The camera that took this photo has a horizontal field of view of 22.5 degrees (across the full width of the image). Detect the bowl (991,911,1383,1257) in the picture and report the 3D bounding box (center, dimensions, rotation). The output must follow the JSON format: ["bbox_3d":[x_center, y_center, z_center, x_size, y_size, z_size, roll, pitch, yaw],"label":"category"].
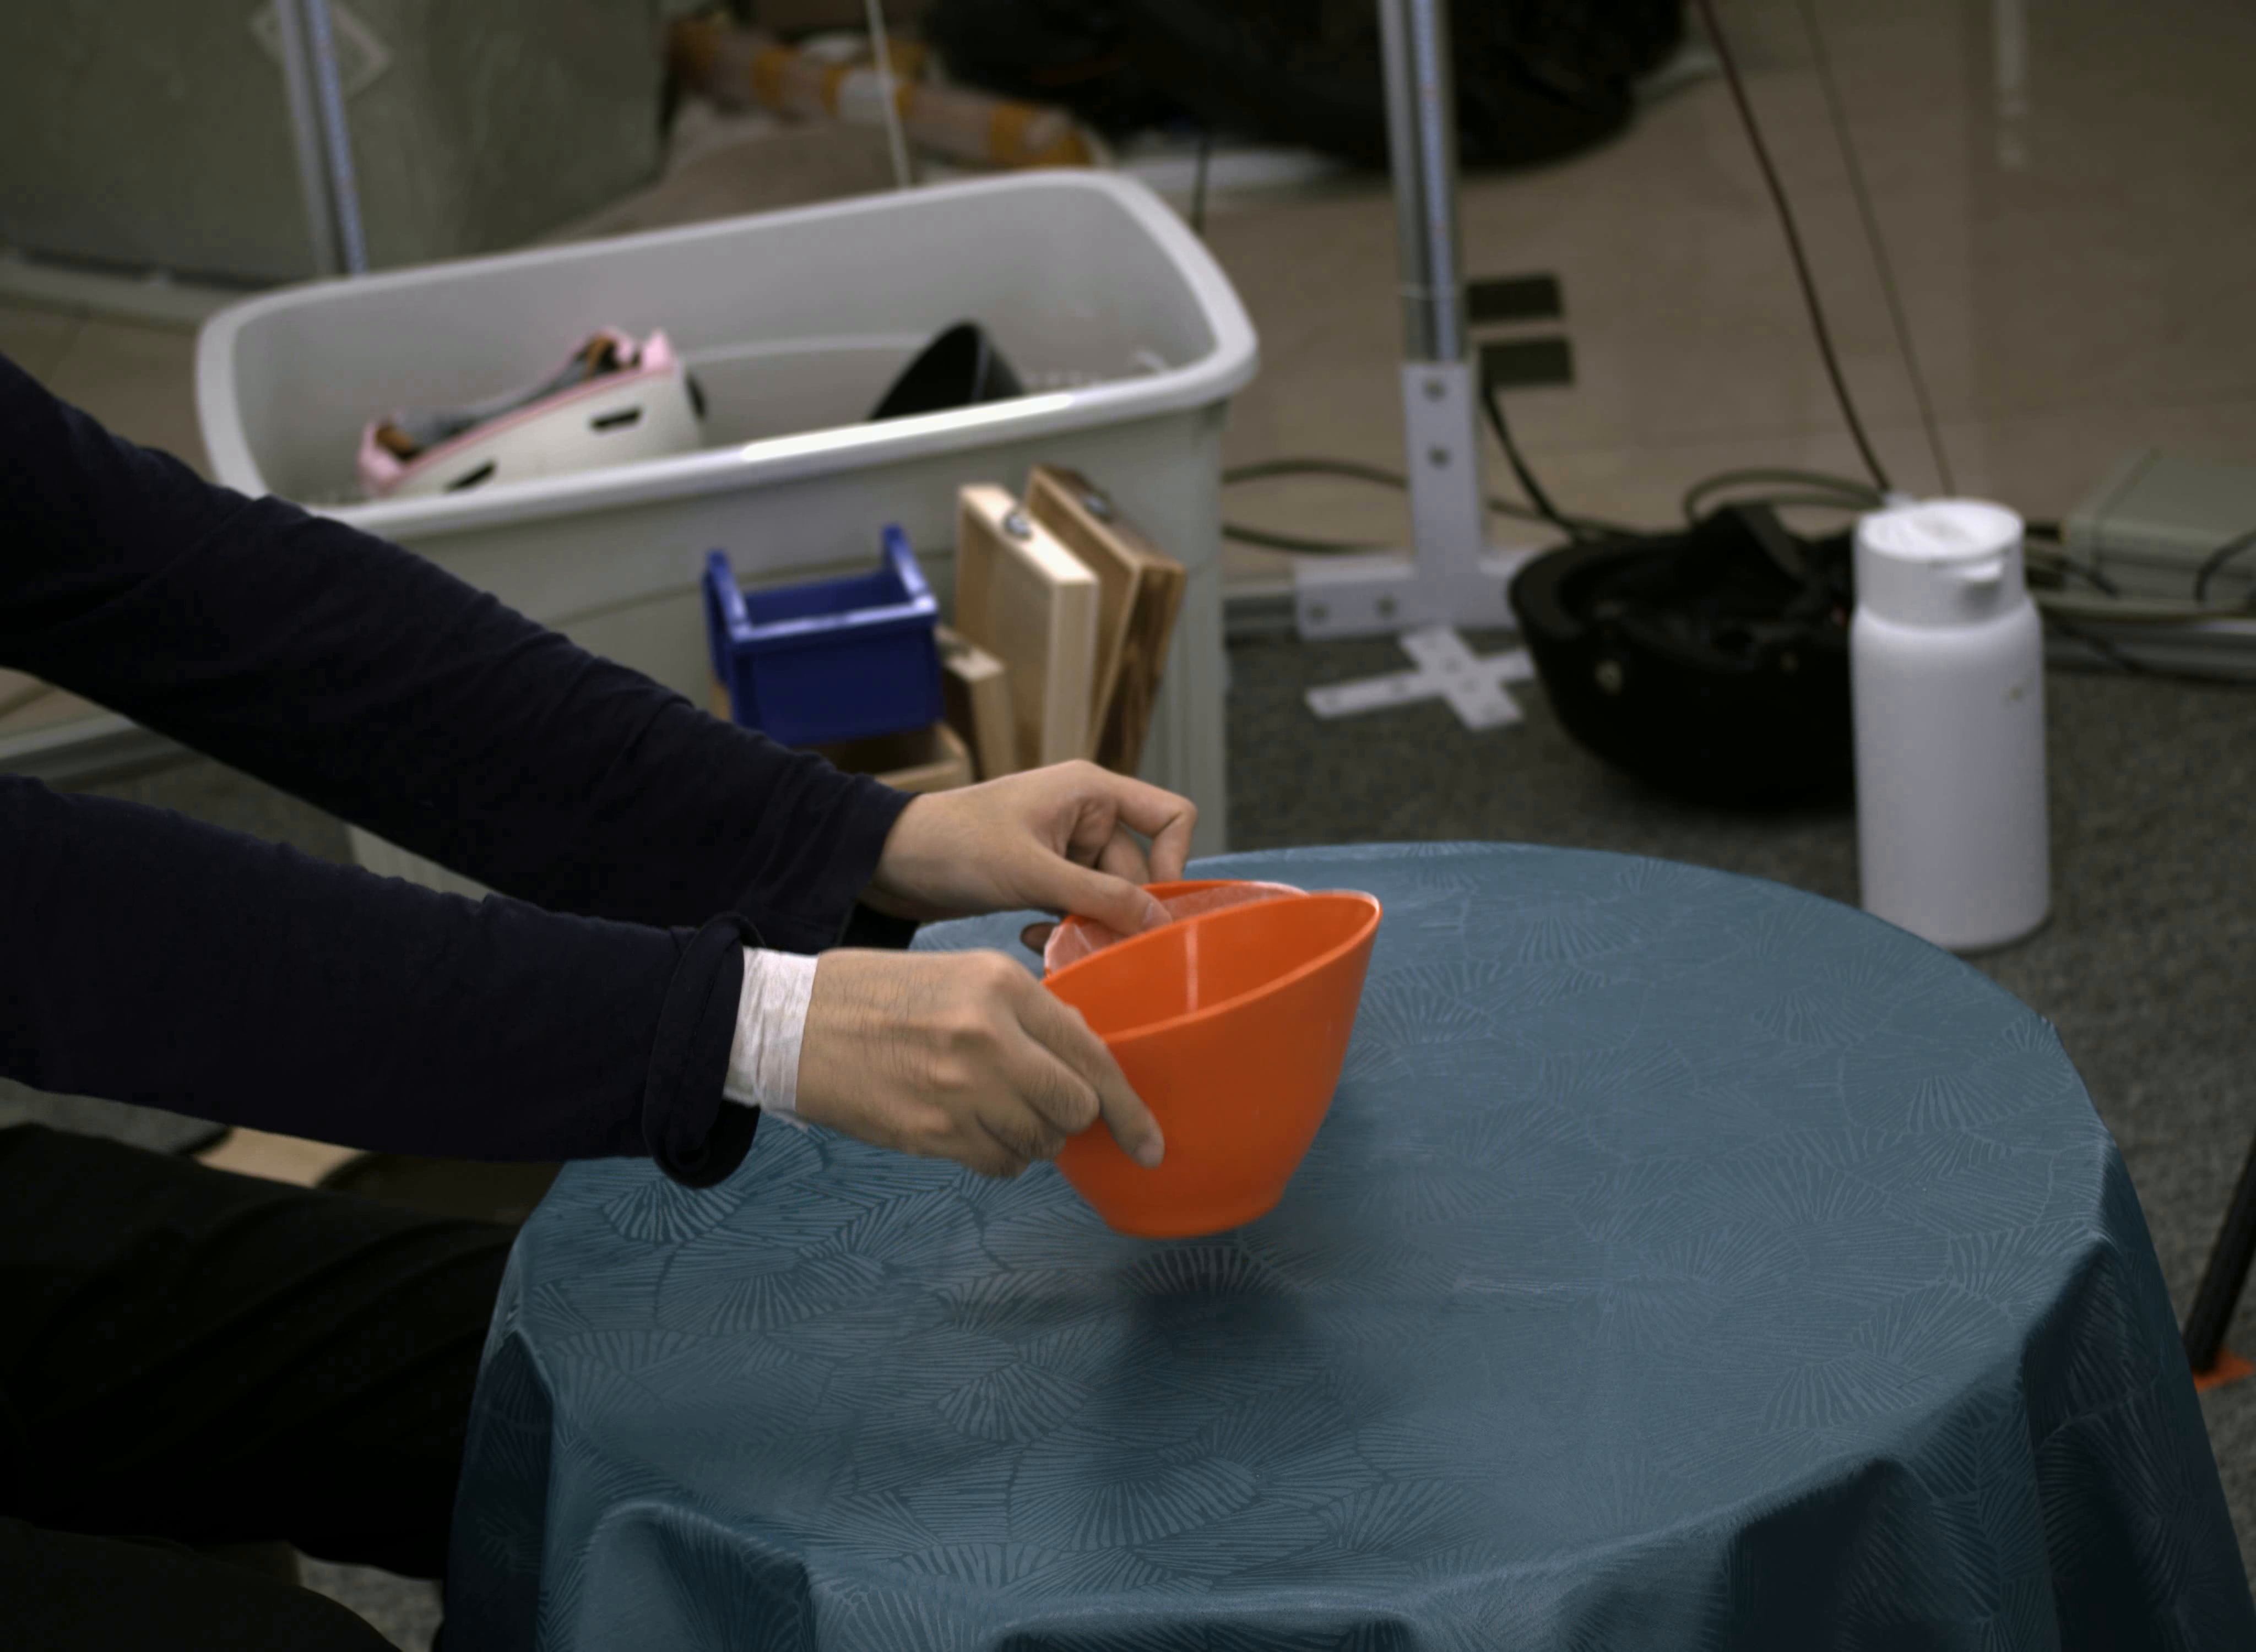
[{"bbox_3d":[0.026,0.097,2.063,0.148,0.106,0.146,-8,16,2],"label":"bowl"}]

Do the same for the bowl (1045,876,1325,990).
[{"bbox_3d":[0.024,0.066,2.240,0.119,0.052,0.117,-4,26,2],"label":"bowl"}]
